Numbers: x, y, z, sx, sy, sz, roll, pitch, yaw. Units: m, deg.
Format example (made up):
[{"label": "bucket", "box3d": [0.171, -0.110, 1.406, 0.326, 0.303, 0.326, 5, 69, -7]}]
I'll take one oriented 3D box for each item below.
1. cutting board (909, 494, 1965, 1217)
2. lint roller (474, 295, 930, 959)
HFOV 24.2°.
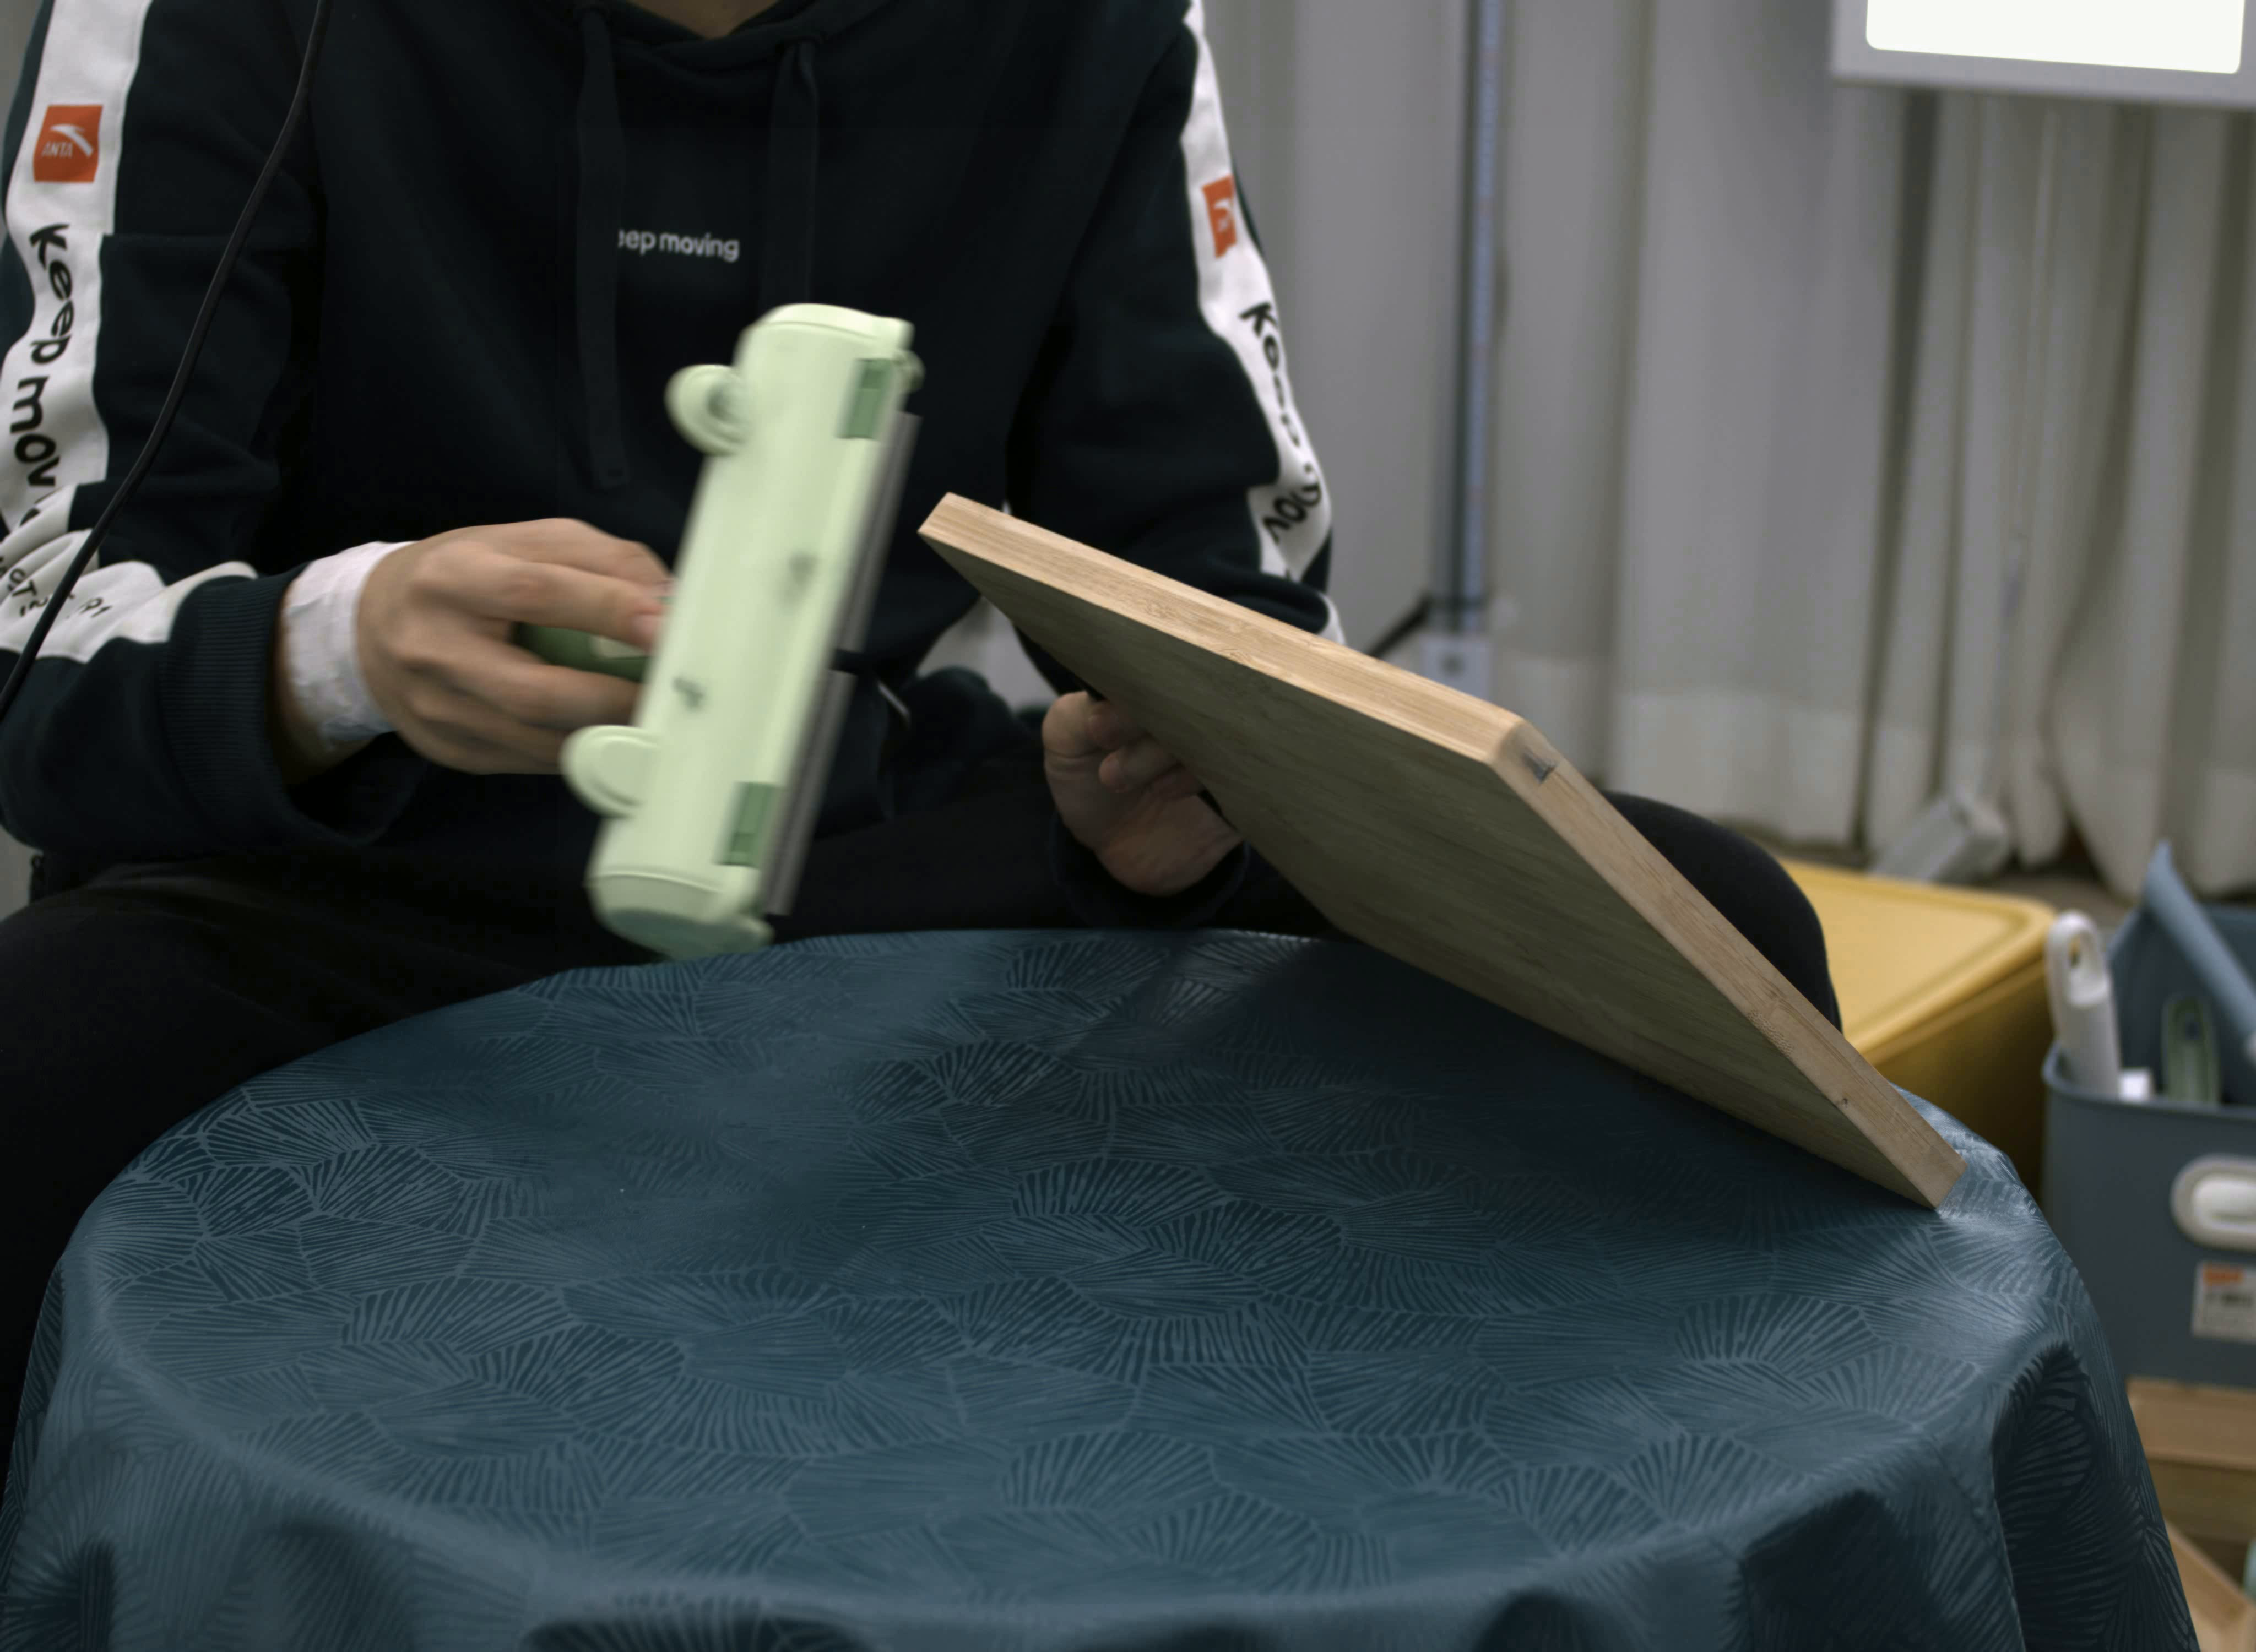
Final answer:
[{"label": "cutting board", "box3d": [0.090, 0.004, 1.683, 0.254, 0.023, 0.344, 44, -11, -34]}, {"label": "lint roller", "box3d": [-0.150, -0.061, 1.576, 0.181, 0.198, 0.083, 0, -21, 39]}]
